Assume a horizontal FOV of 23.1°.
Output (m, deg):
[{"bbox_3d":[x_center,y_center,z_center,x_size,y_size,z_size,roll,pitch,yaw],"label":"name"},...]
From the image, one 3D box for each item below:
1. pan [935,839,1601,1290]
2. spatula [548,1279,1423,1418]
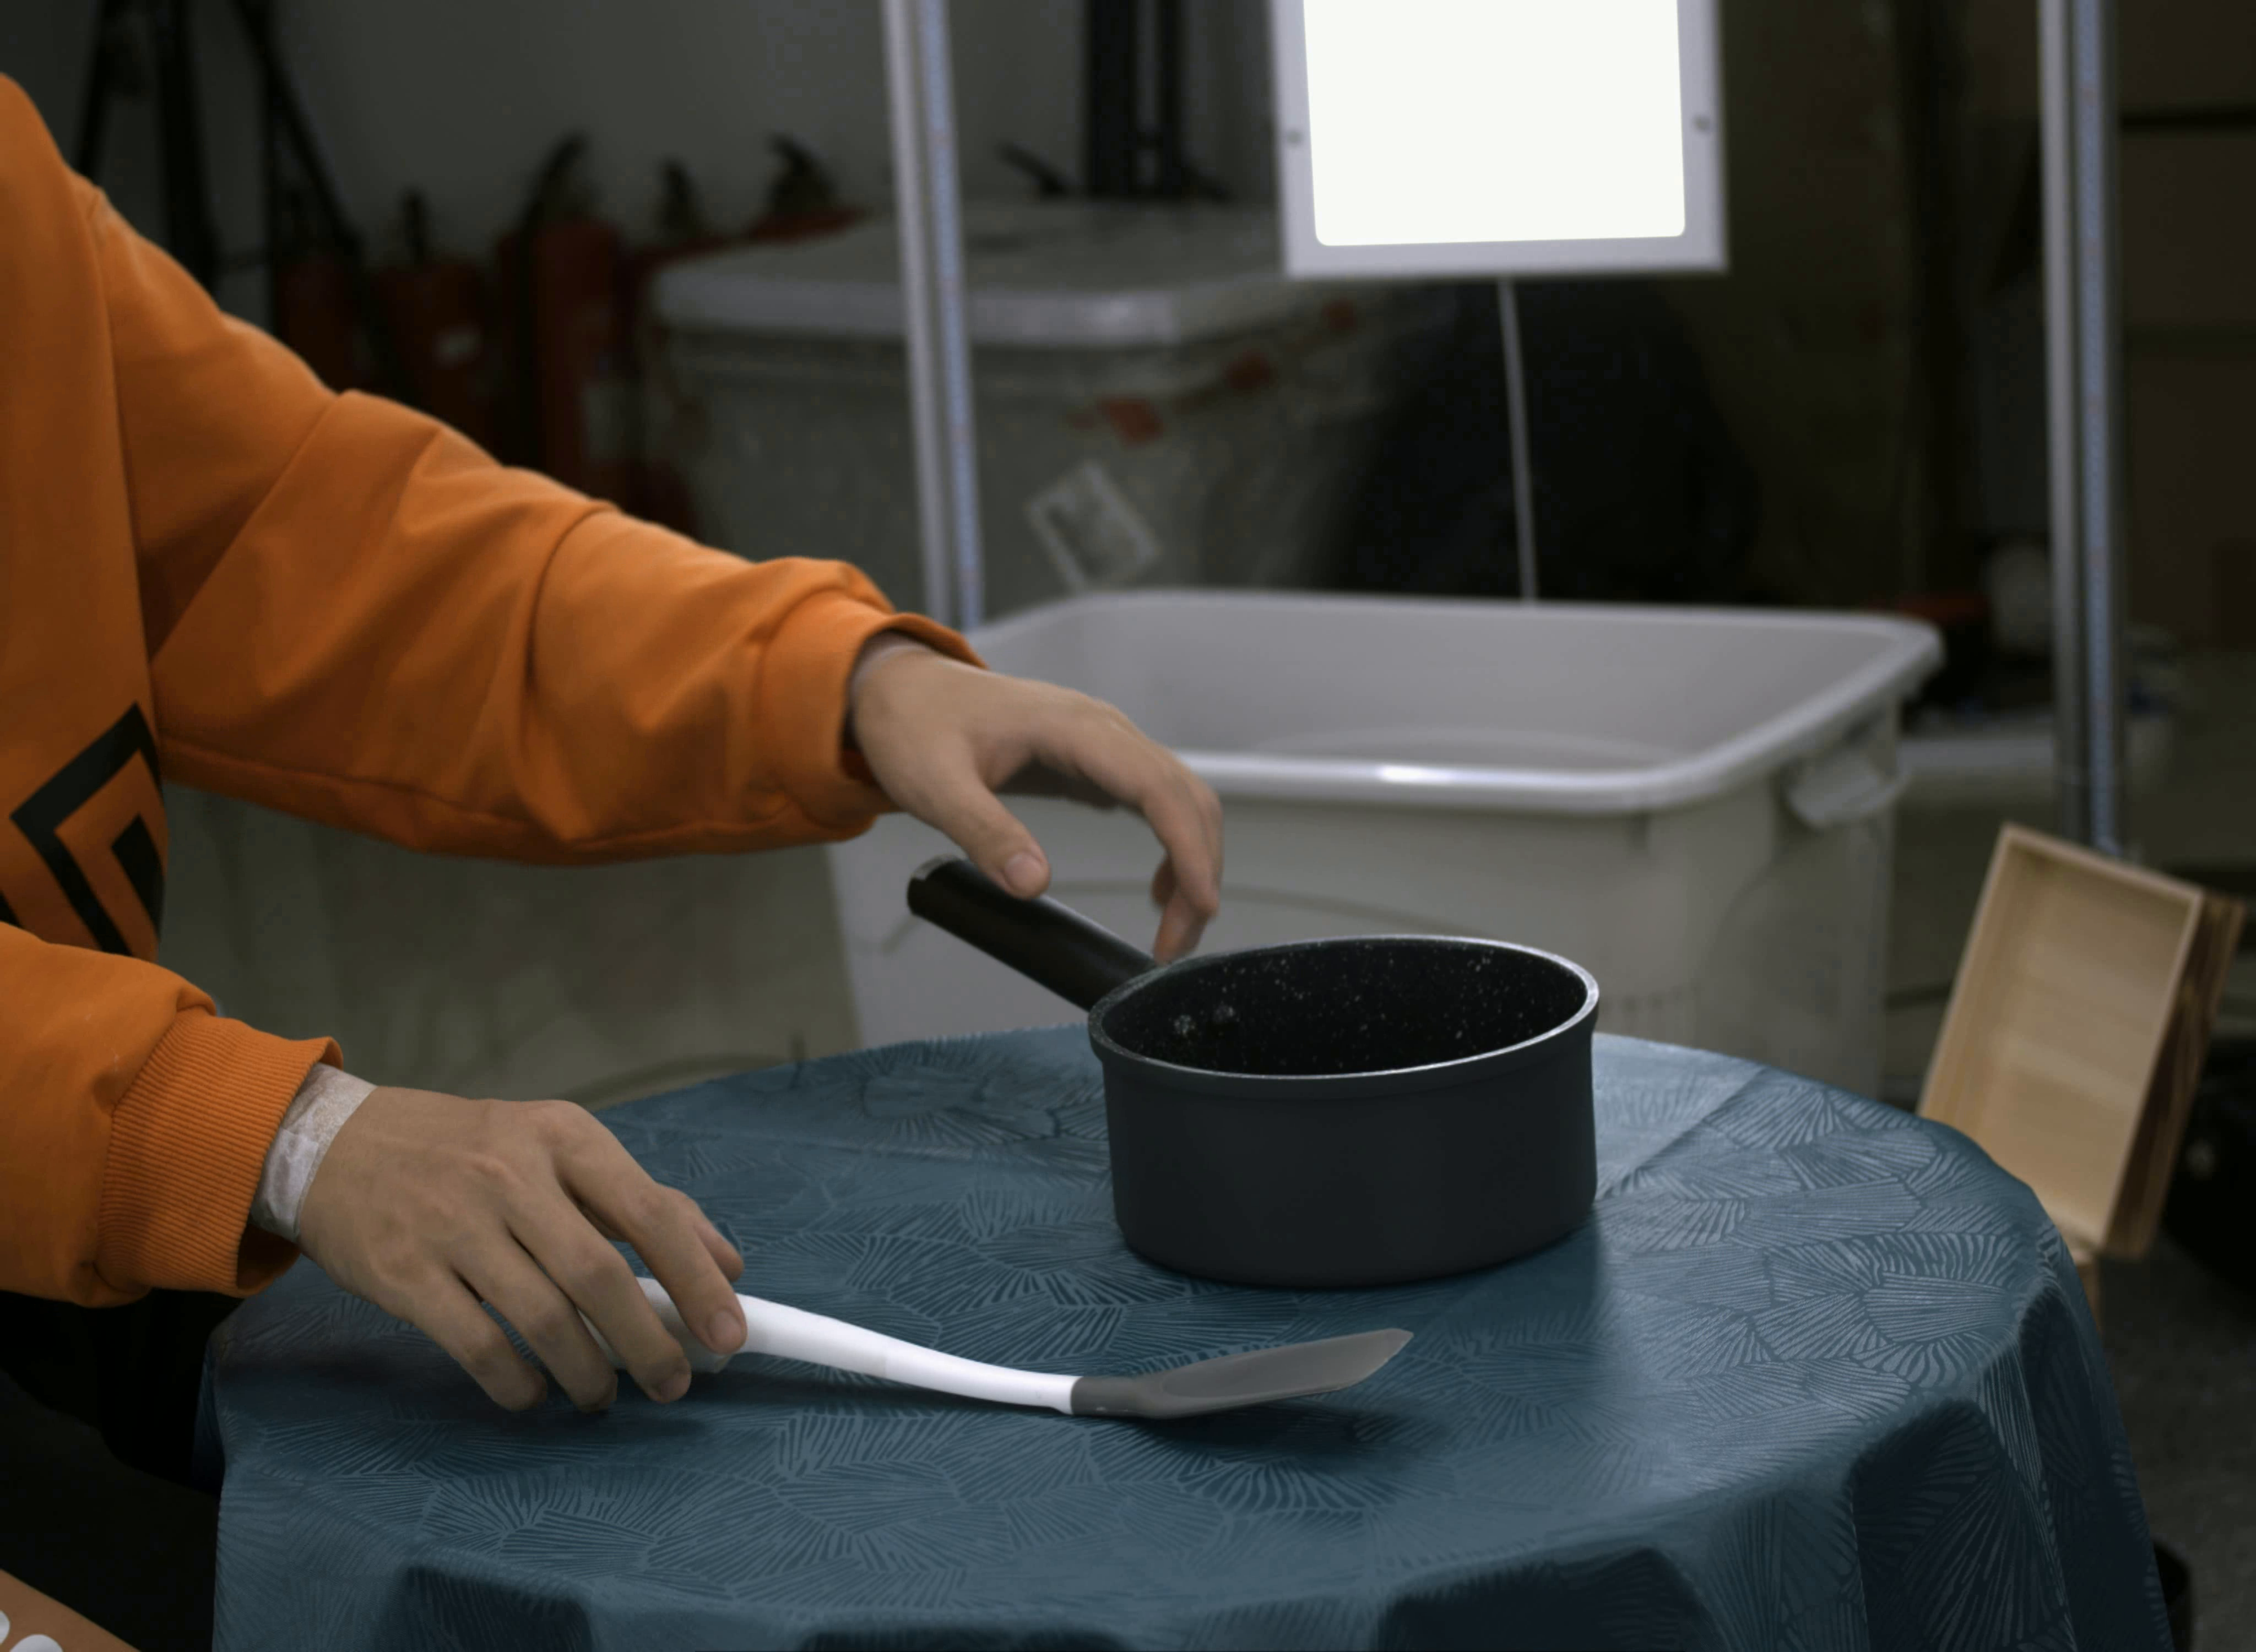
[{"bbox_3d":[0.031,0.078,1.905,0.168,0.087,0.335,-13,17,-30],"label":"pan"},{"bbox_3d":[-0.047,0.163,1.700,0.292,0.032,0.057,1,10,26],"label":"spatula"}]
